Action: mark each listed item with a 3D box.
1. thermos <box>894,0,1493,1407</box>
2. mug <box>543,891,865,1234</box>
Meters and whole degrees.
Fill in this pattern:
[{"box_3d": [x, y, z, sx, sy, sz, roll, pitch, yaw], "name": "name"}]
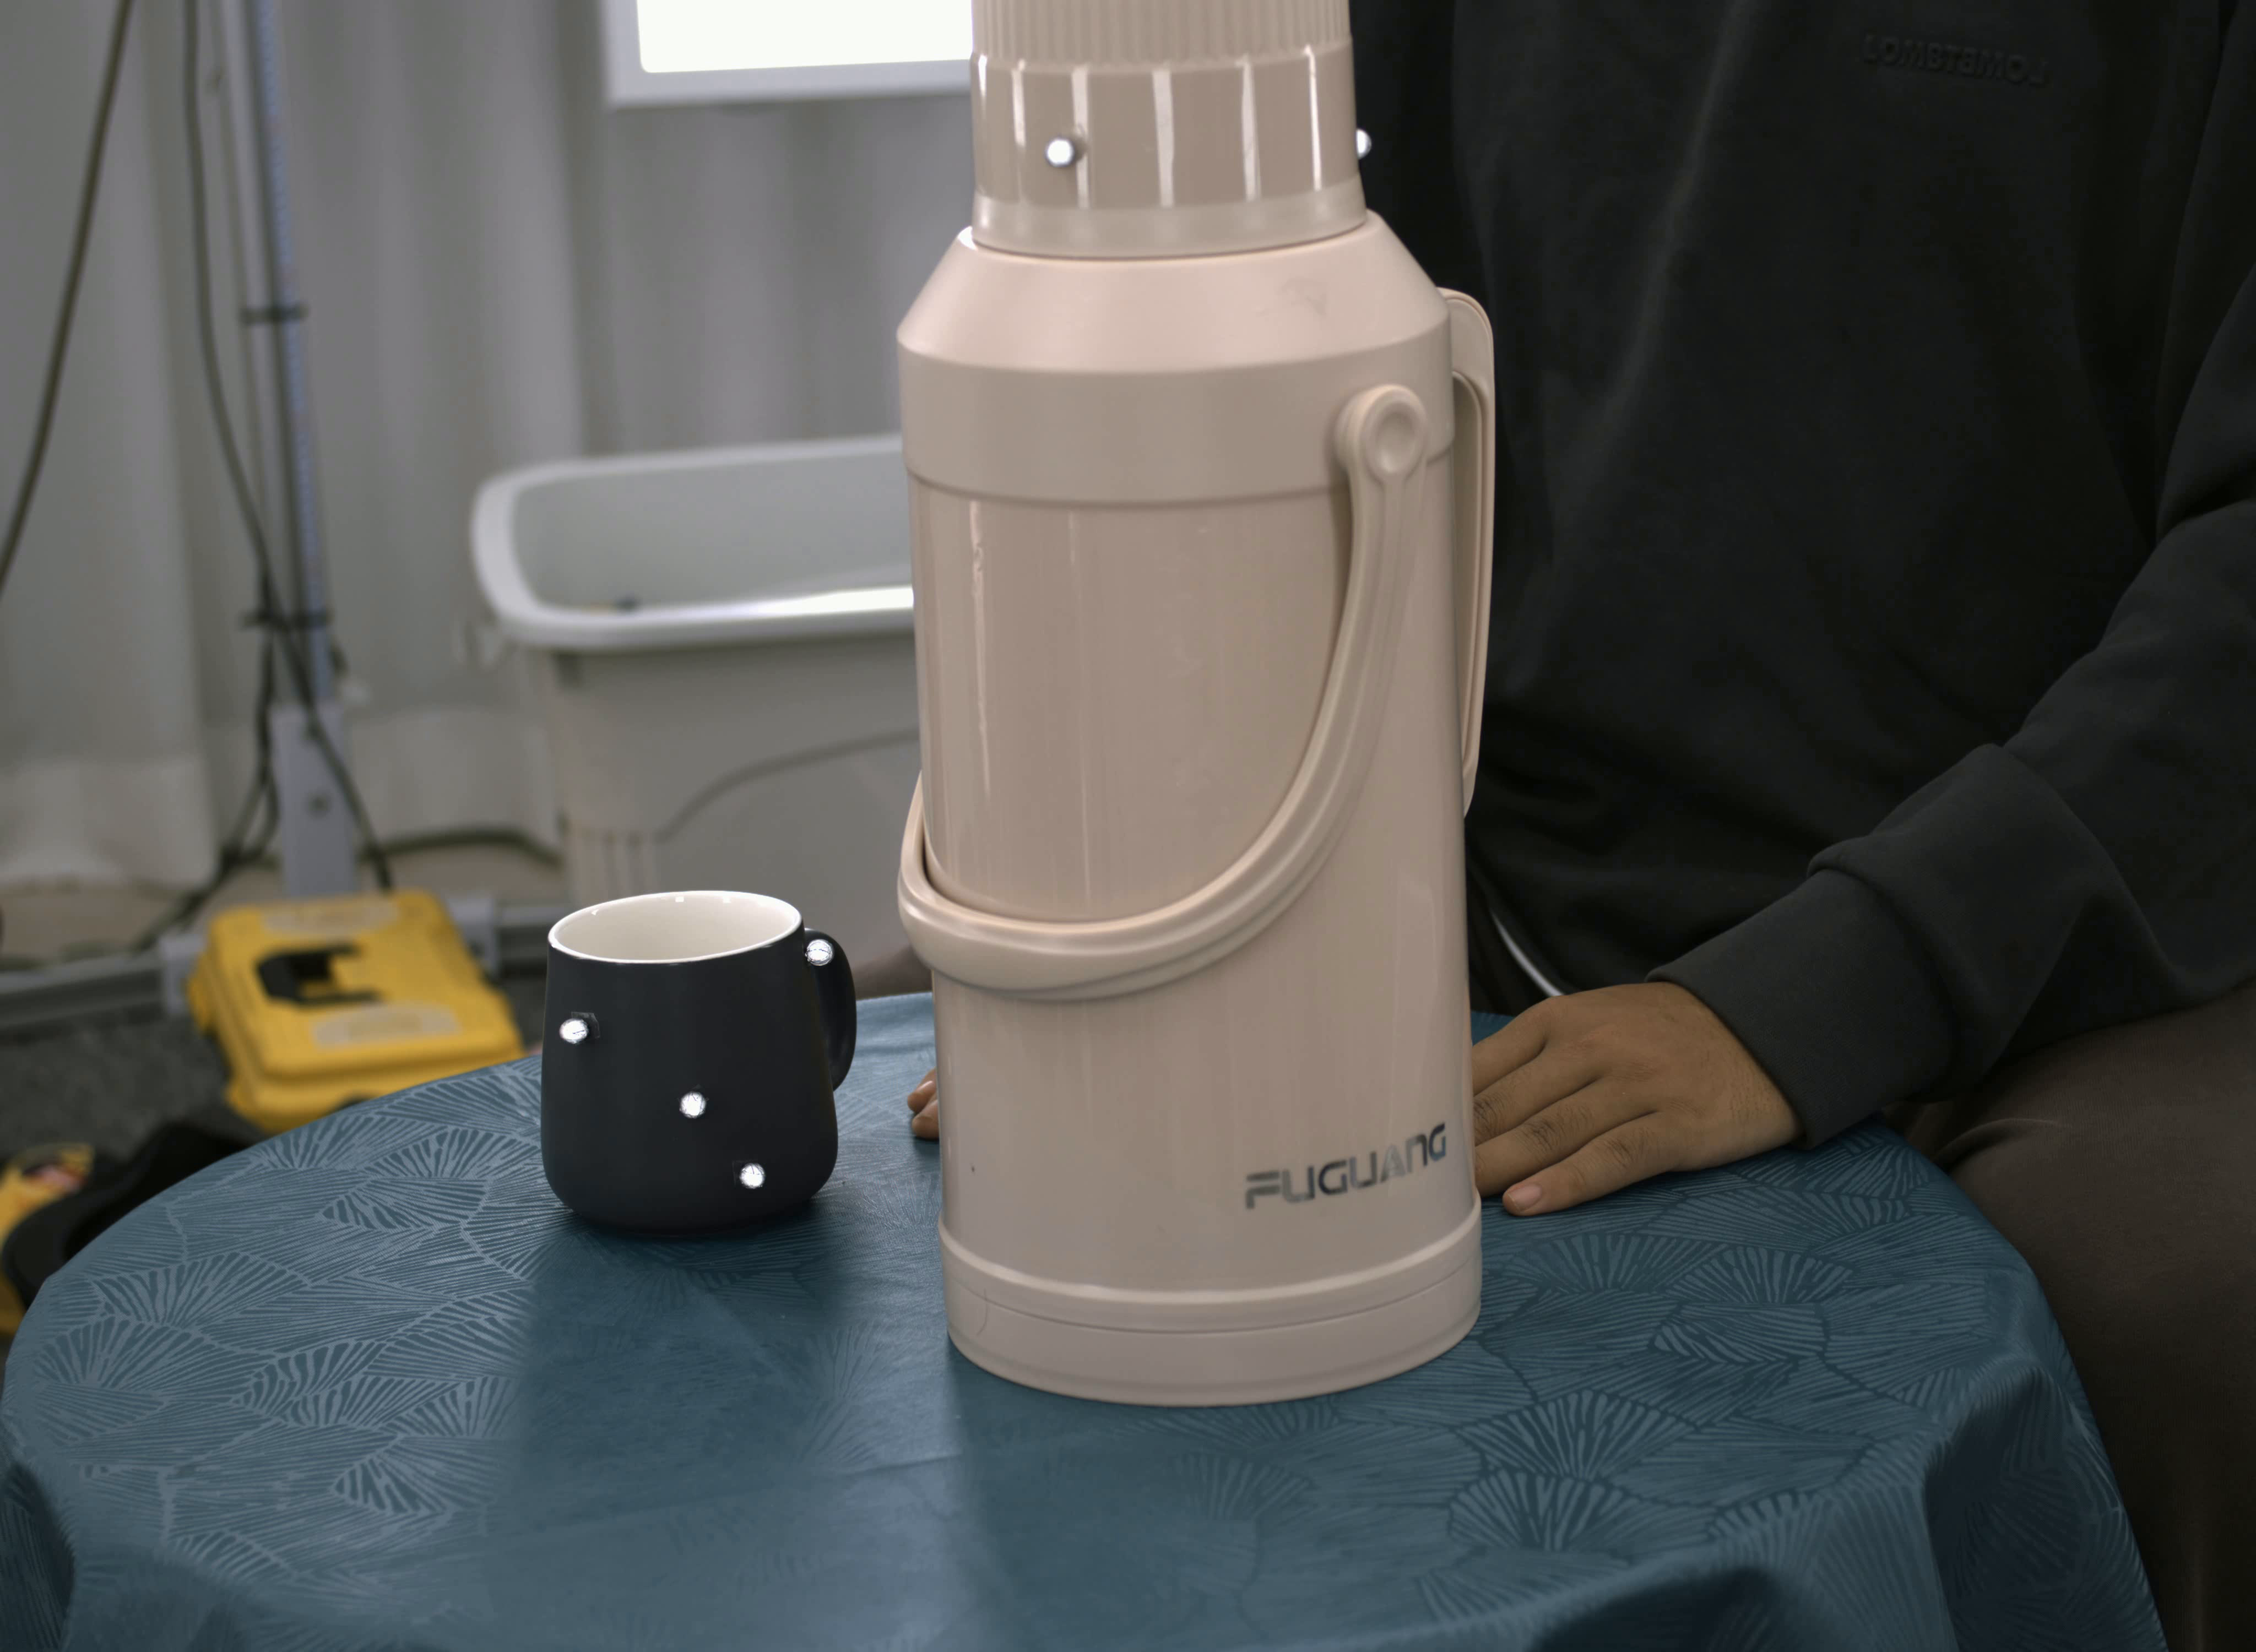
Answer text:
[{"box_3d": [0.027, -0.052, 1.571, 0.206, 0.405, 0.176, -15, 18, -40], "name": "thermos"}, {"box_3d": [-0.129, 0.071, 1.728, 0.094, 0.089, 0.123, 10, 19, 39], "name": "mug"}]
